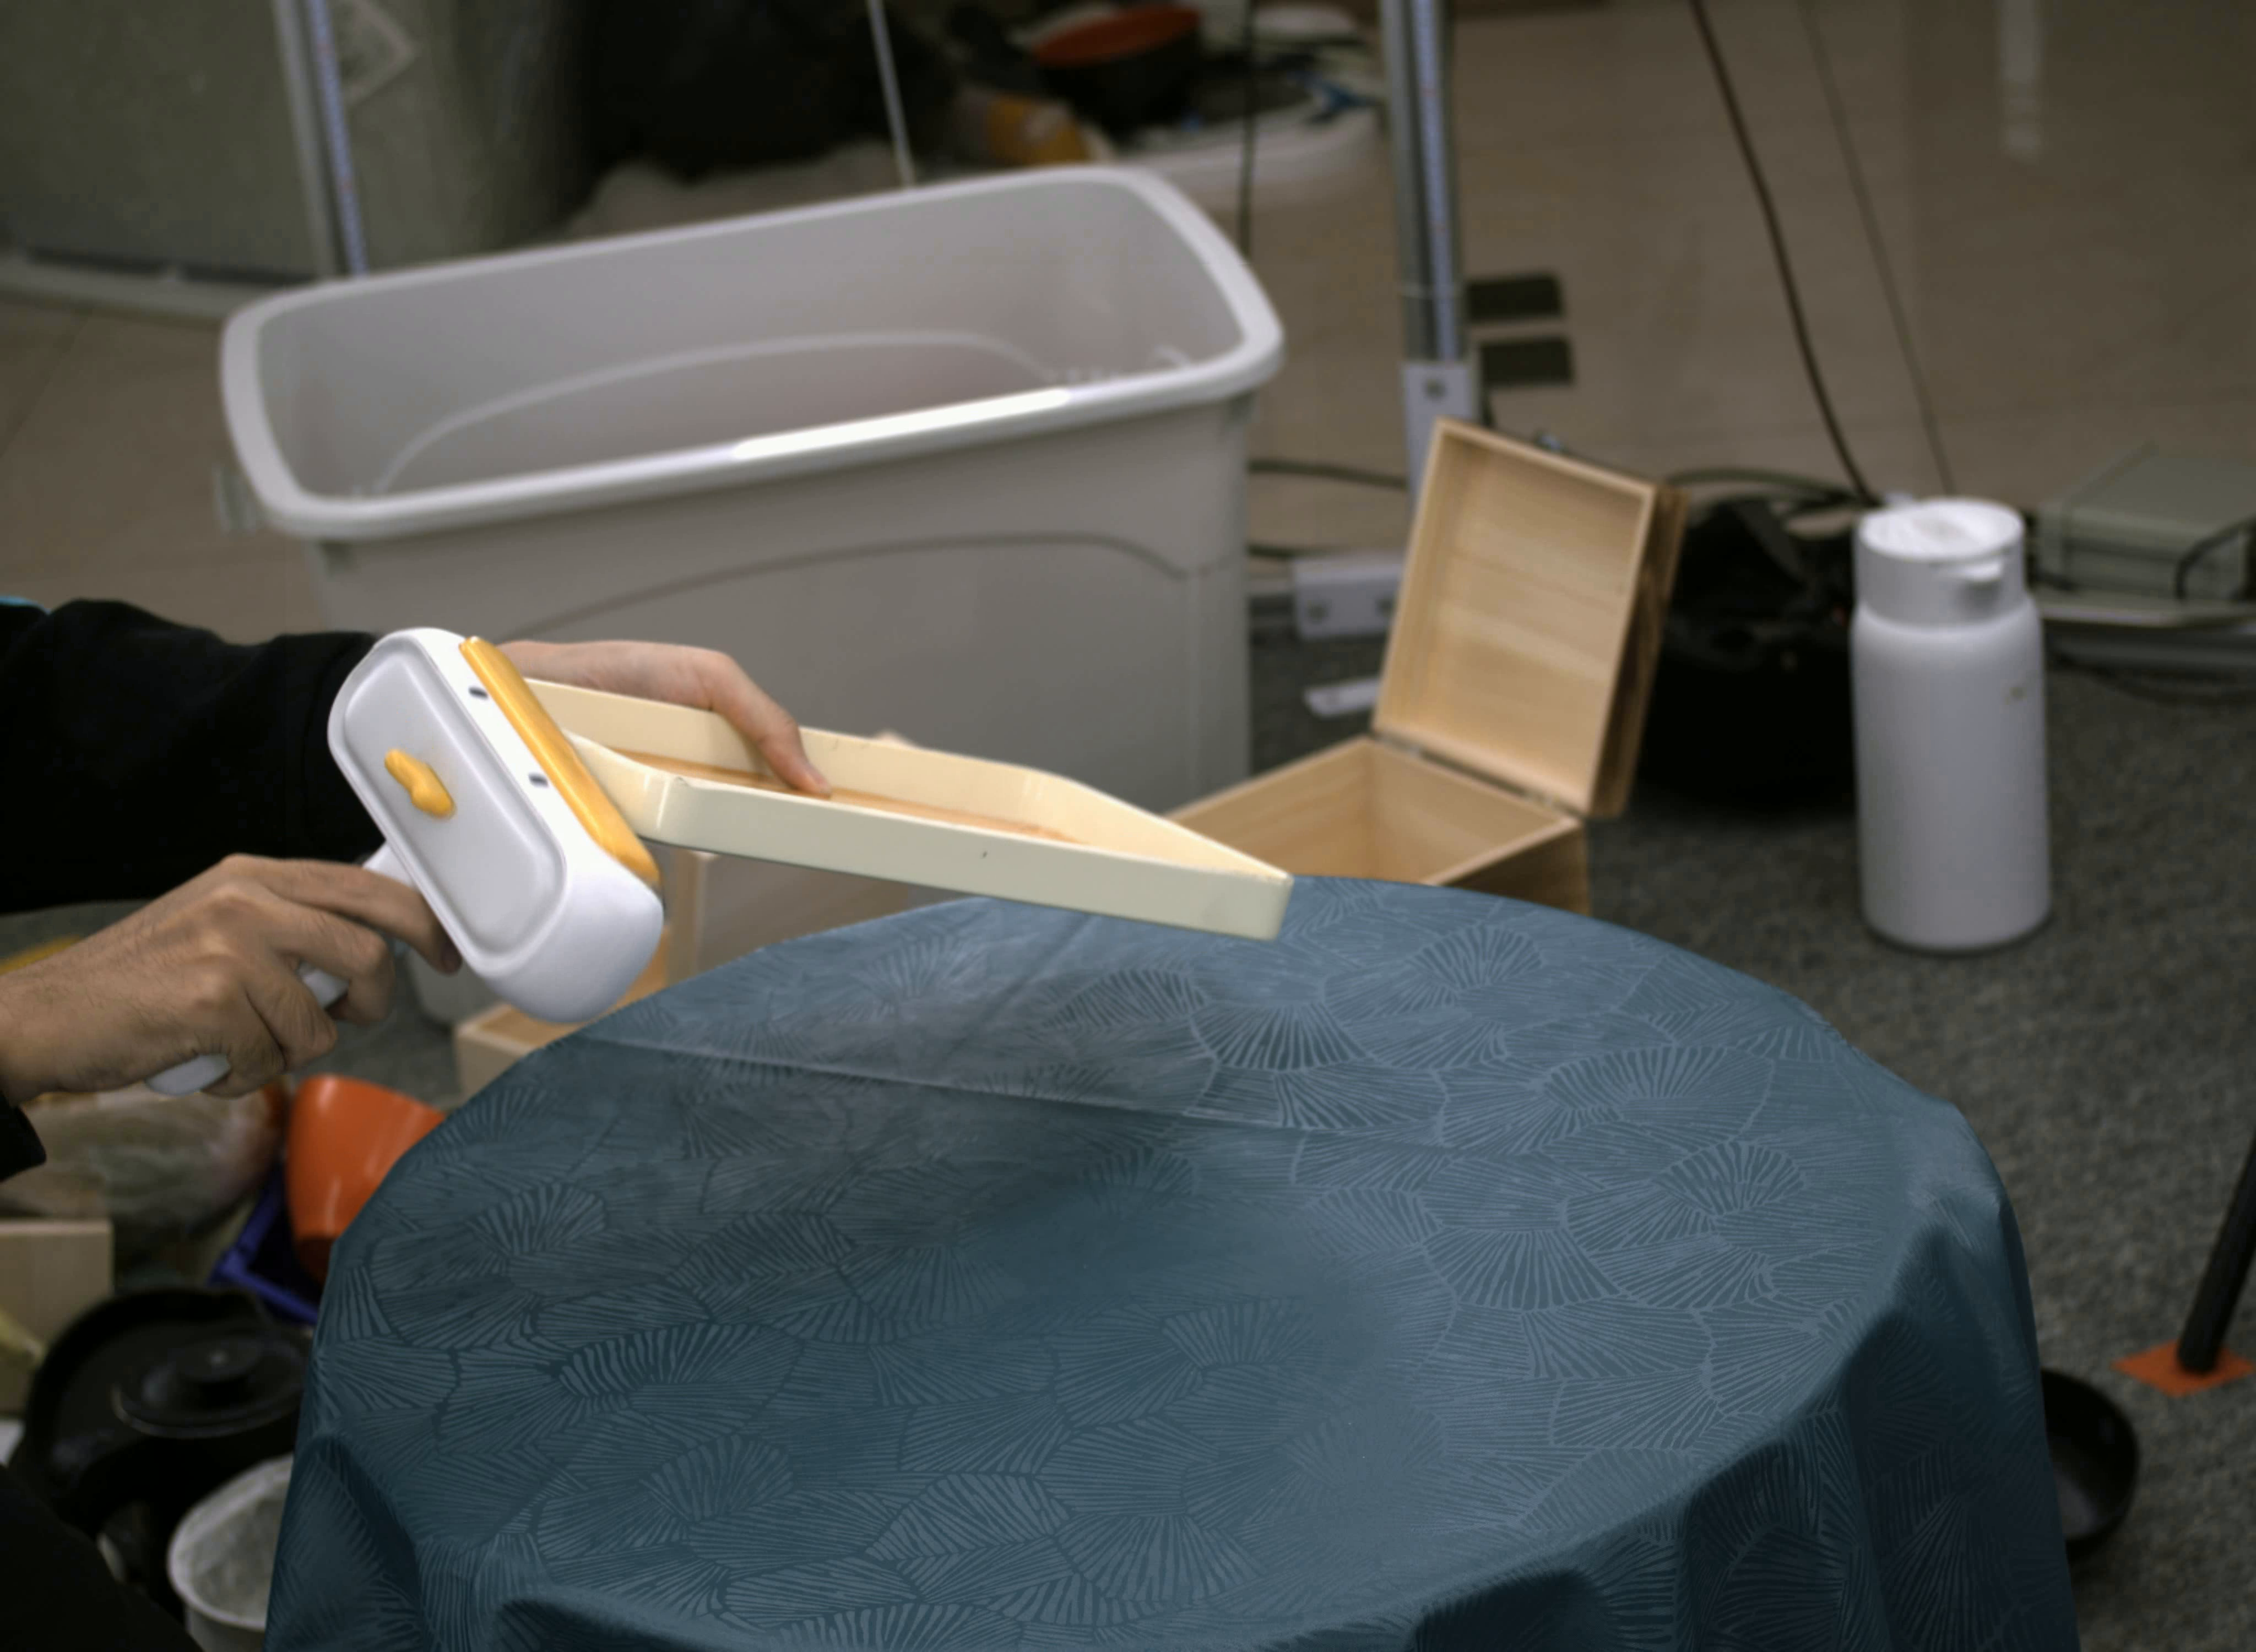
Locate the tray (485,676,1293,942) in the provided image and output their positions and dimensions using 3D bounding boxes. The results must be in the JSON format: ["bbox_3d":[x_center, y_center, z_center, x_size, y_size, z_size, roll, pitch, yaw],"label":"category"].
[{"bbox_3d":[-0.103,-0.007,2.160,0.301,0.027,0.190,11,7,-35],"label":"tray"}]

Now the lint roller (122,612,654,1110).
[{"bbox_3d":[-0.277,0.030,2.027,0.193,0.075,0.190,-47,50,3],"label":"lint roller"}]
